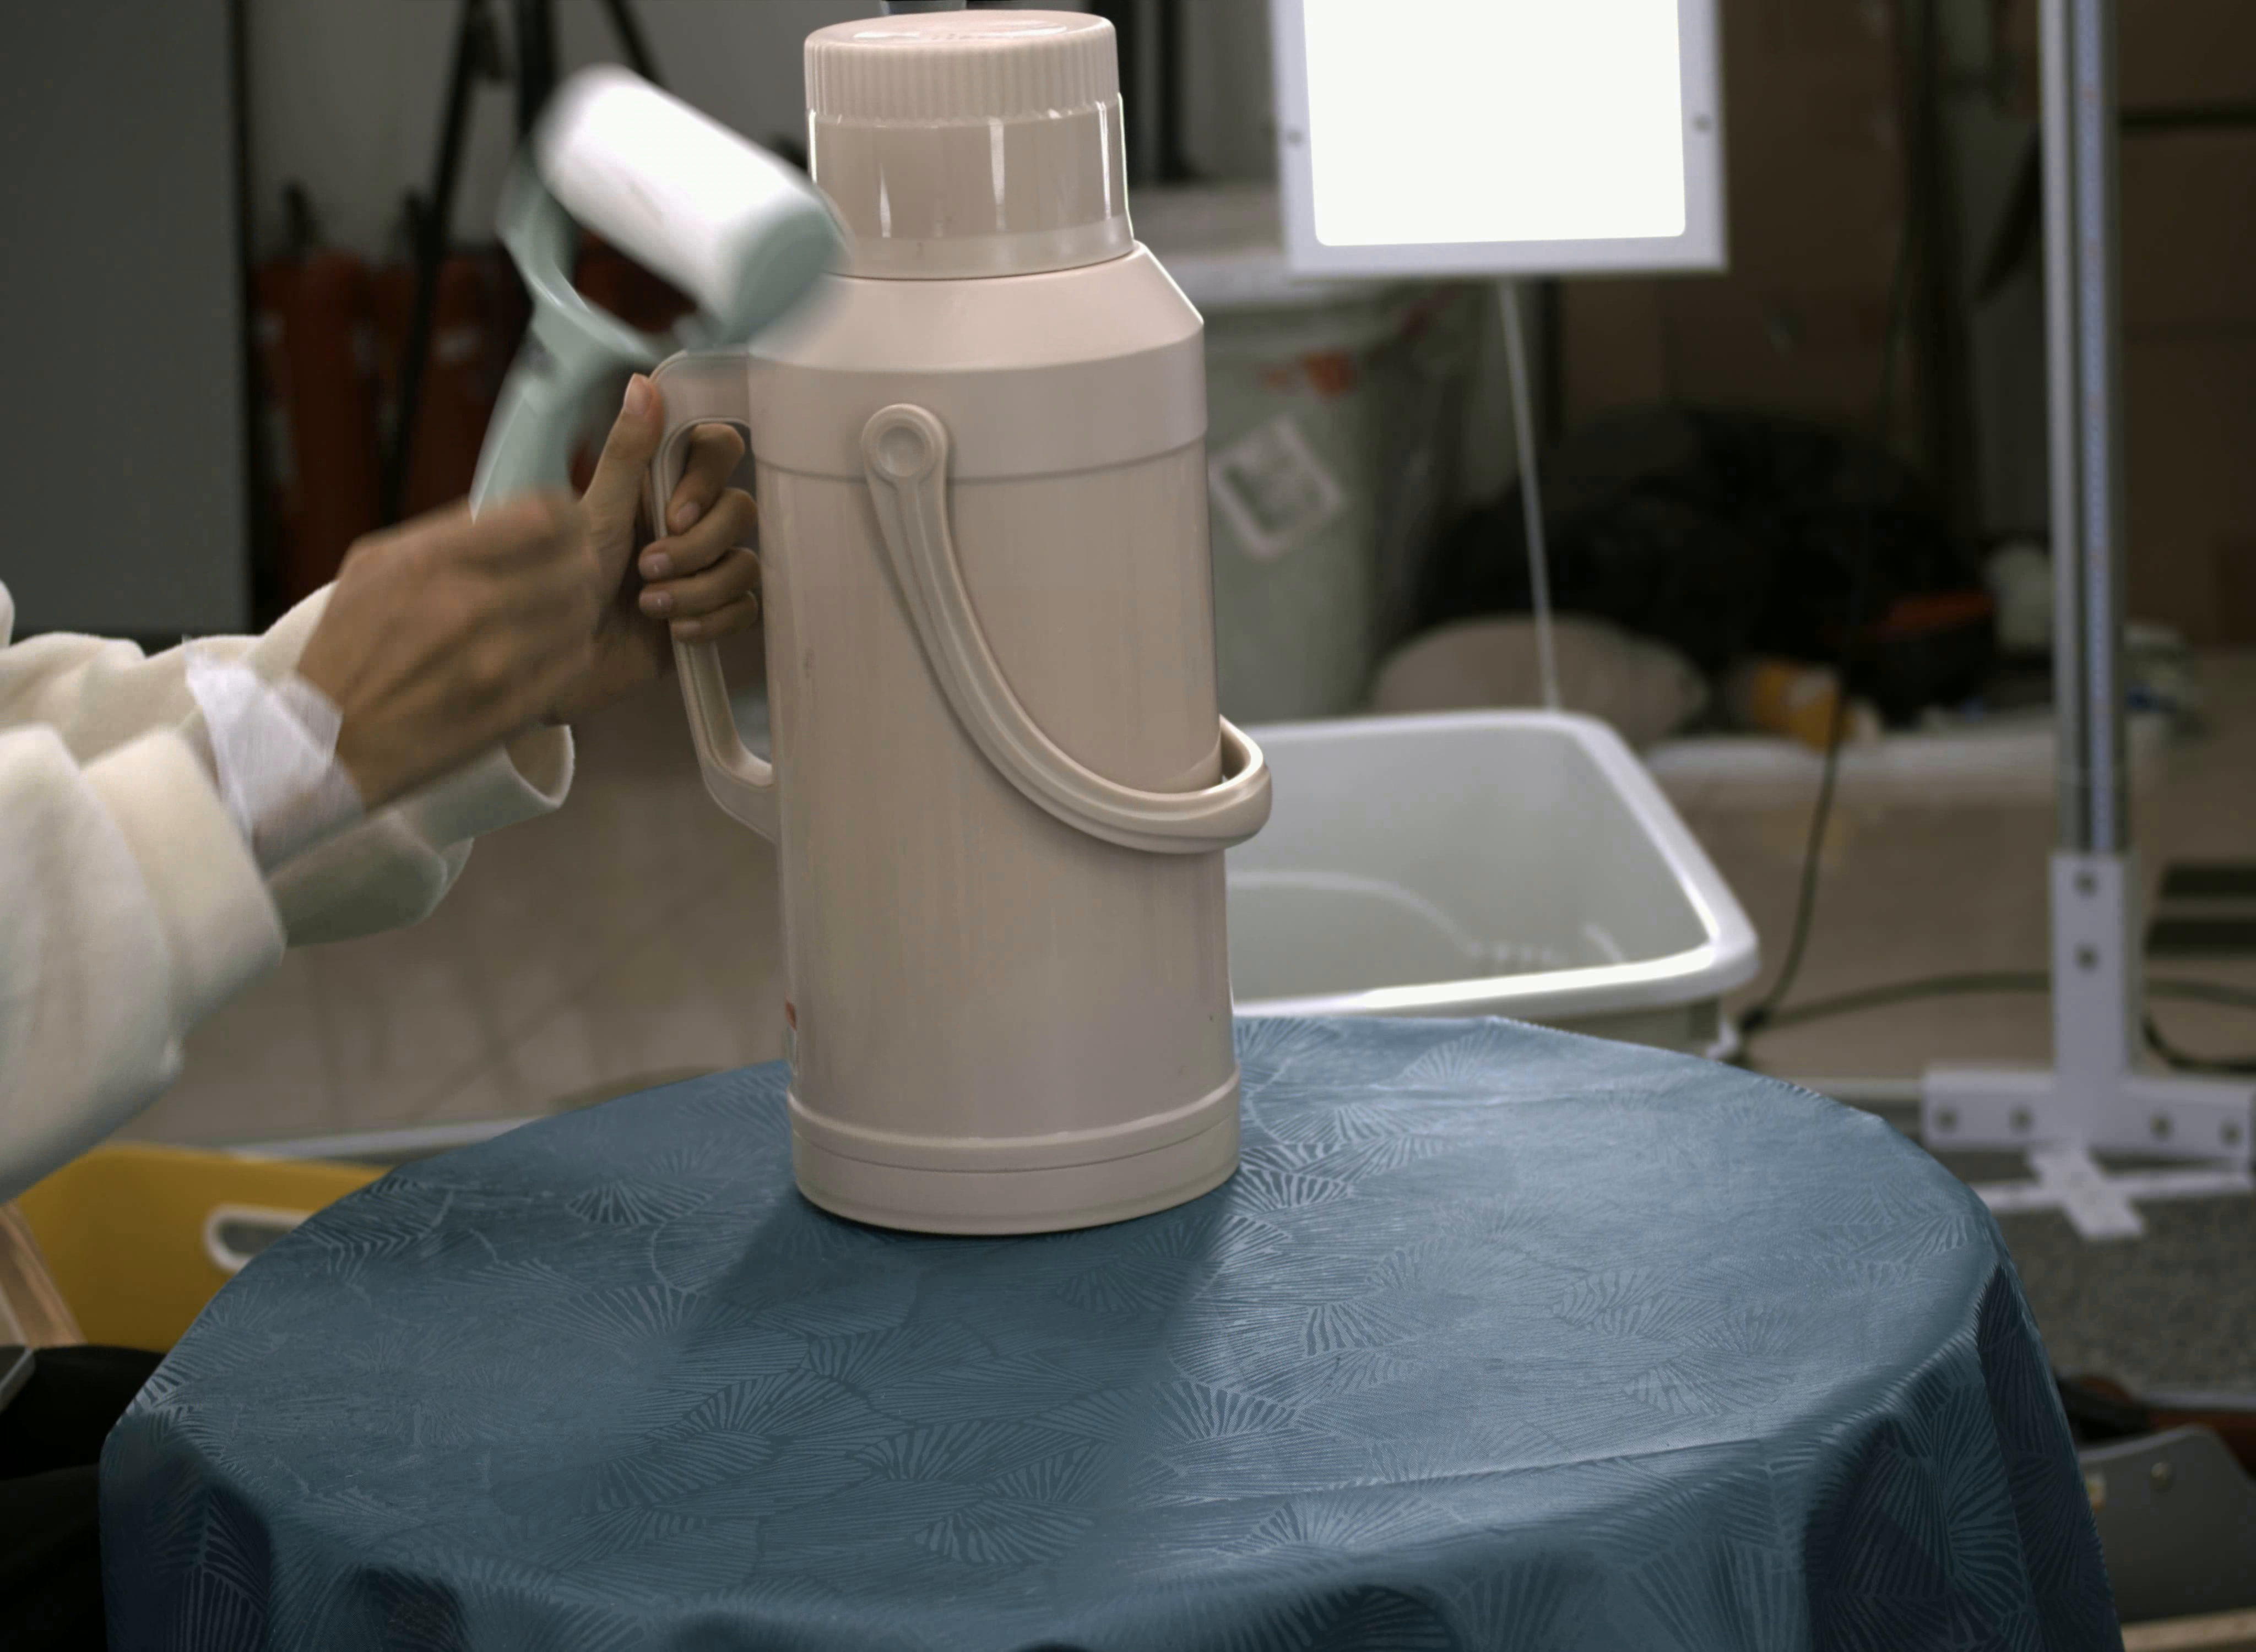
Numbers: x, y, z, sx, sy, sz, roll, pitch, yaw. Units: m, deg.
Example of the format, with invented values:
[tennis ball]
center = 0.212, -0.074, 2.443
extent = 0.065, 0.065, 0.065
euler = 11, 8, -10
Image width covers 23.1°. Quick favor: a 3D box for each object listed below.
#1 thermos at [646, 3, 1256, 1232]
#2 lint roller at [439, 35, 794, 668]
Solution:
[thermos]
center = -0.060, -0.073, 1.891
extent = 0.209, 0.408, 0.172
euler = 1, 15, 17
[lint roller]
center = -0.183, -0.144, 1.733
extent = 0.047, 0.199, 0.118
euler = 15, 14, -48
